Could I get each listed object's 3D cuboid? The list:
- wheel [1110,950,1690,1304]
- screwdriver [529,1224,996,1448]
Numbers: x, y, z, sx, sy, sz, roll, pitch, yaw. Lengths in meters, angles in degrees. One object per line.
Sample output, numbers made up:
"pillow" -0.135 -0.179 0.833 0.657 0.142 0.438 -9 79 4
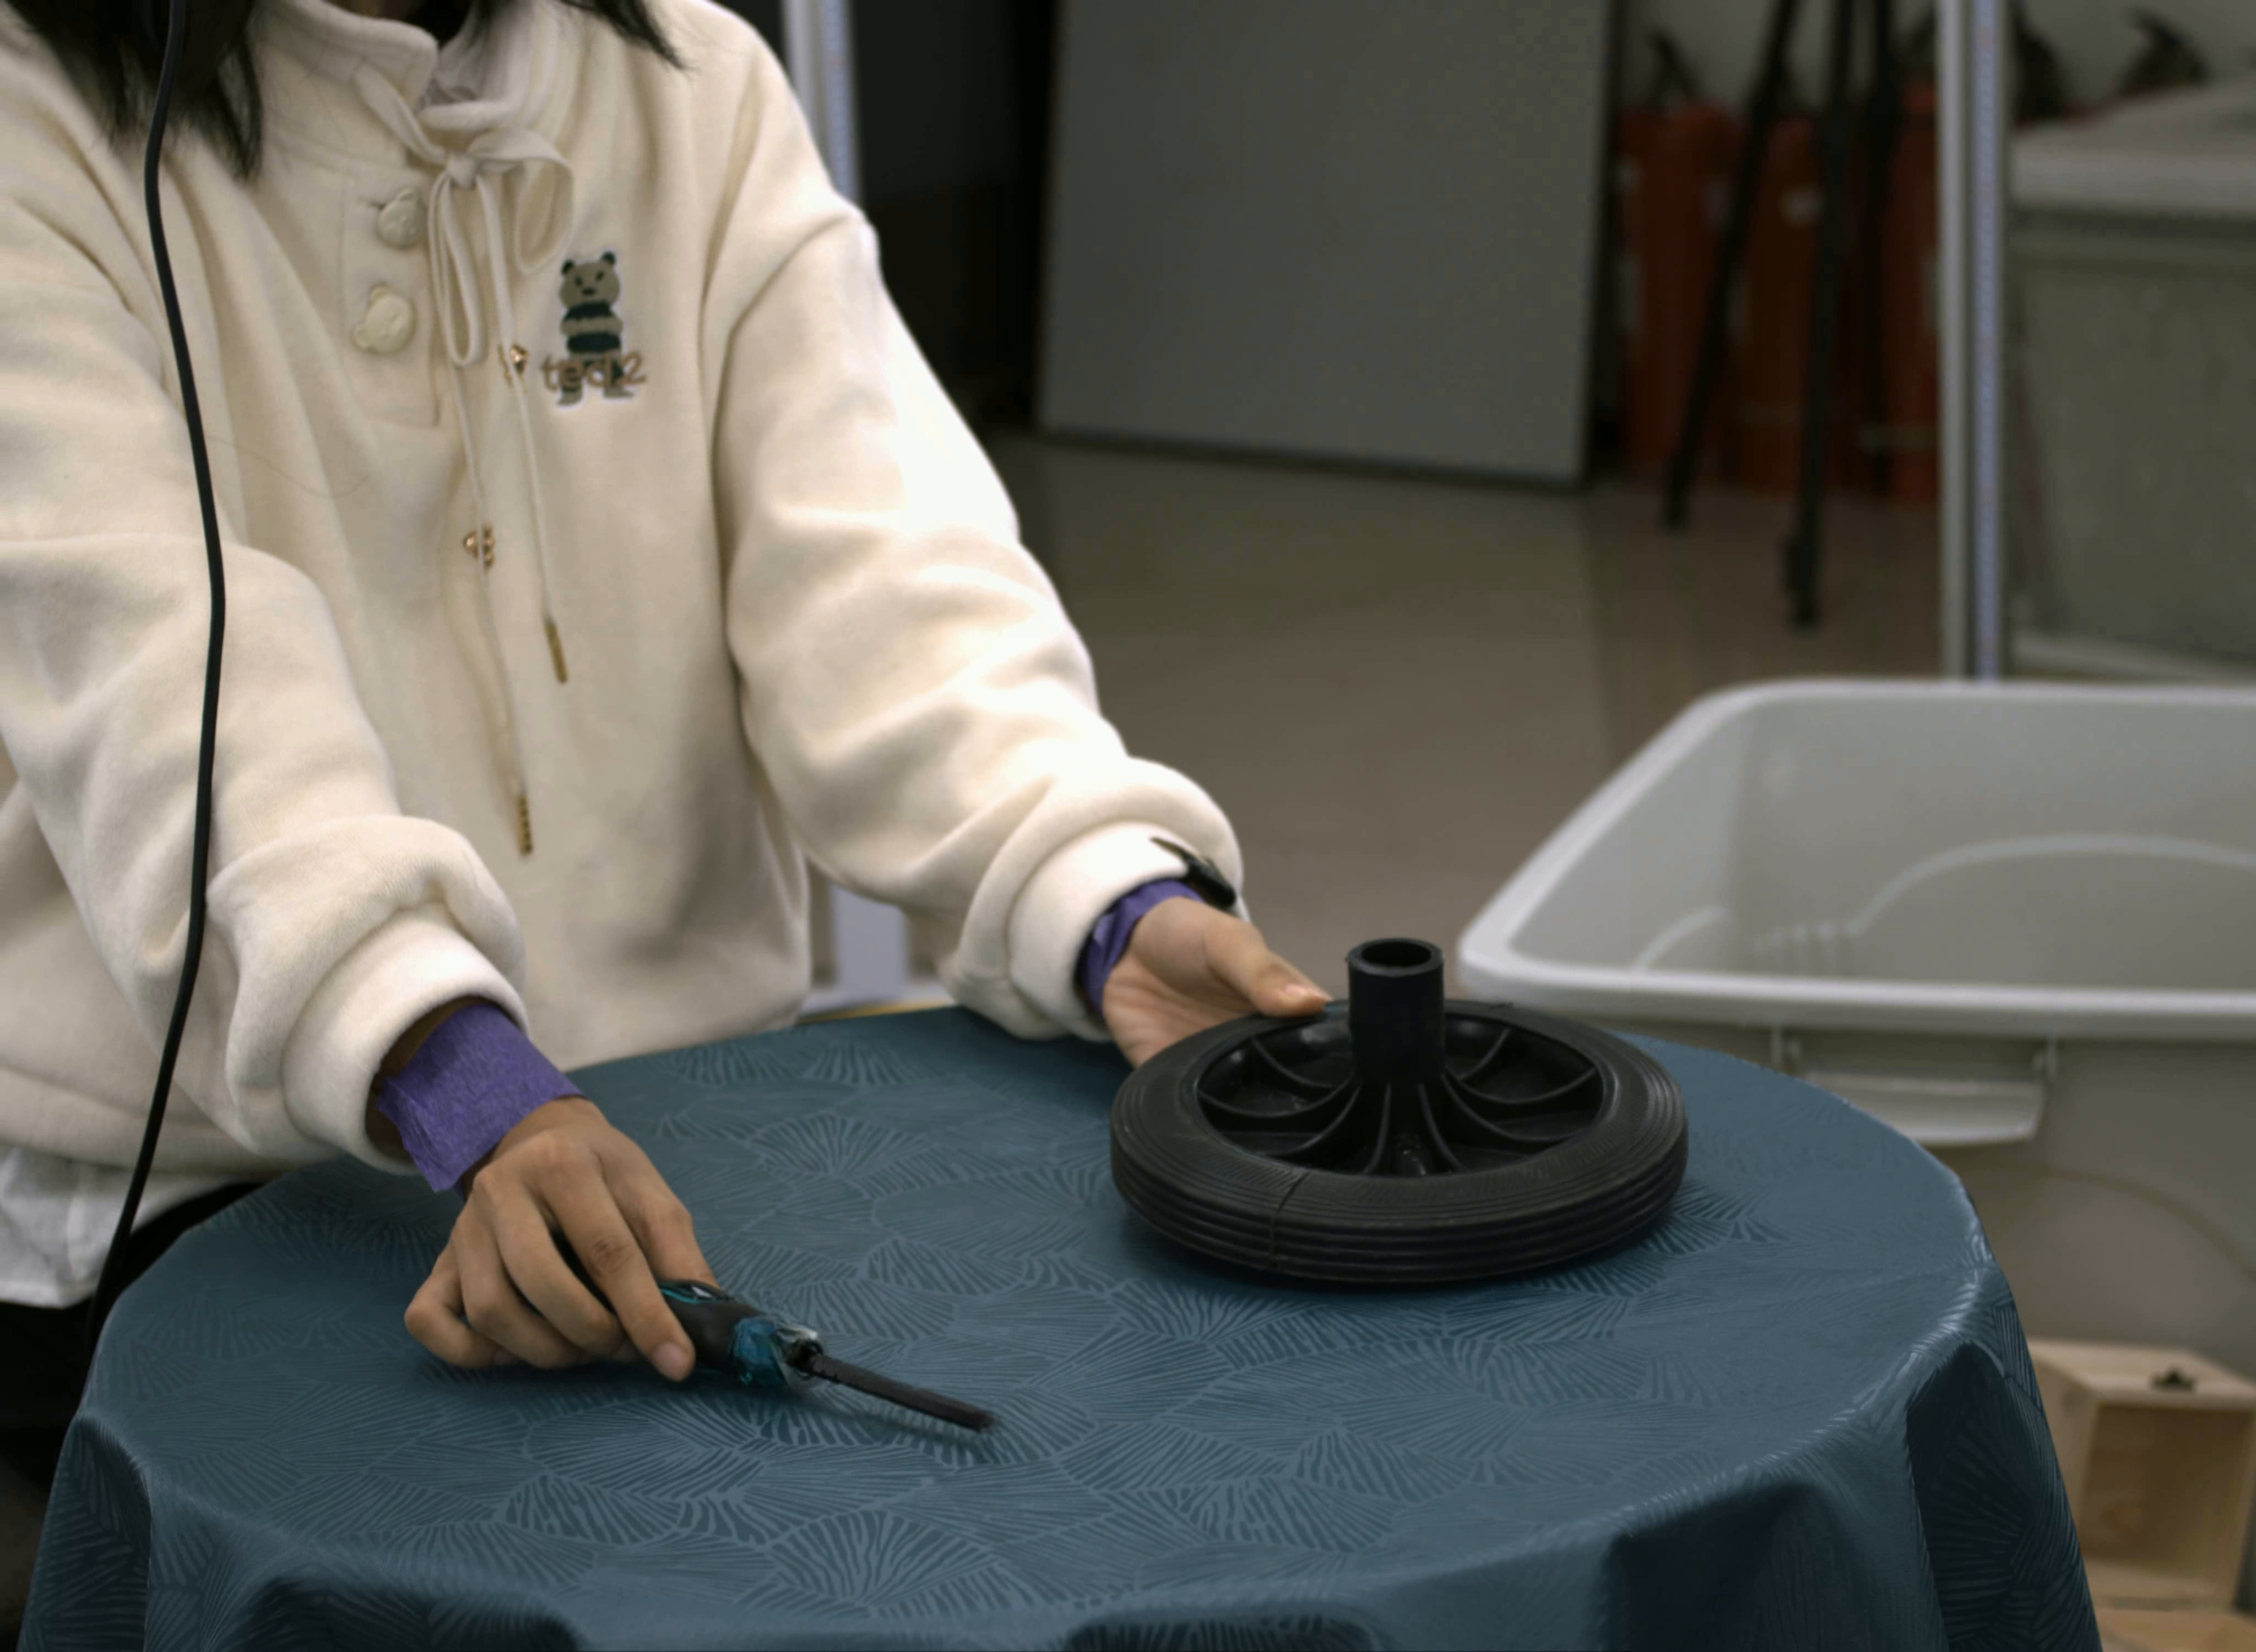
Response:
"wheel" 0.087 0.083 1.724 0.183 0.080 0.192 -12 25 -24
"screwdriver" -0.109 0.156 1.606 0.191 0.034 0.033 17 23 40
